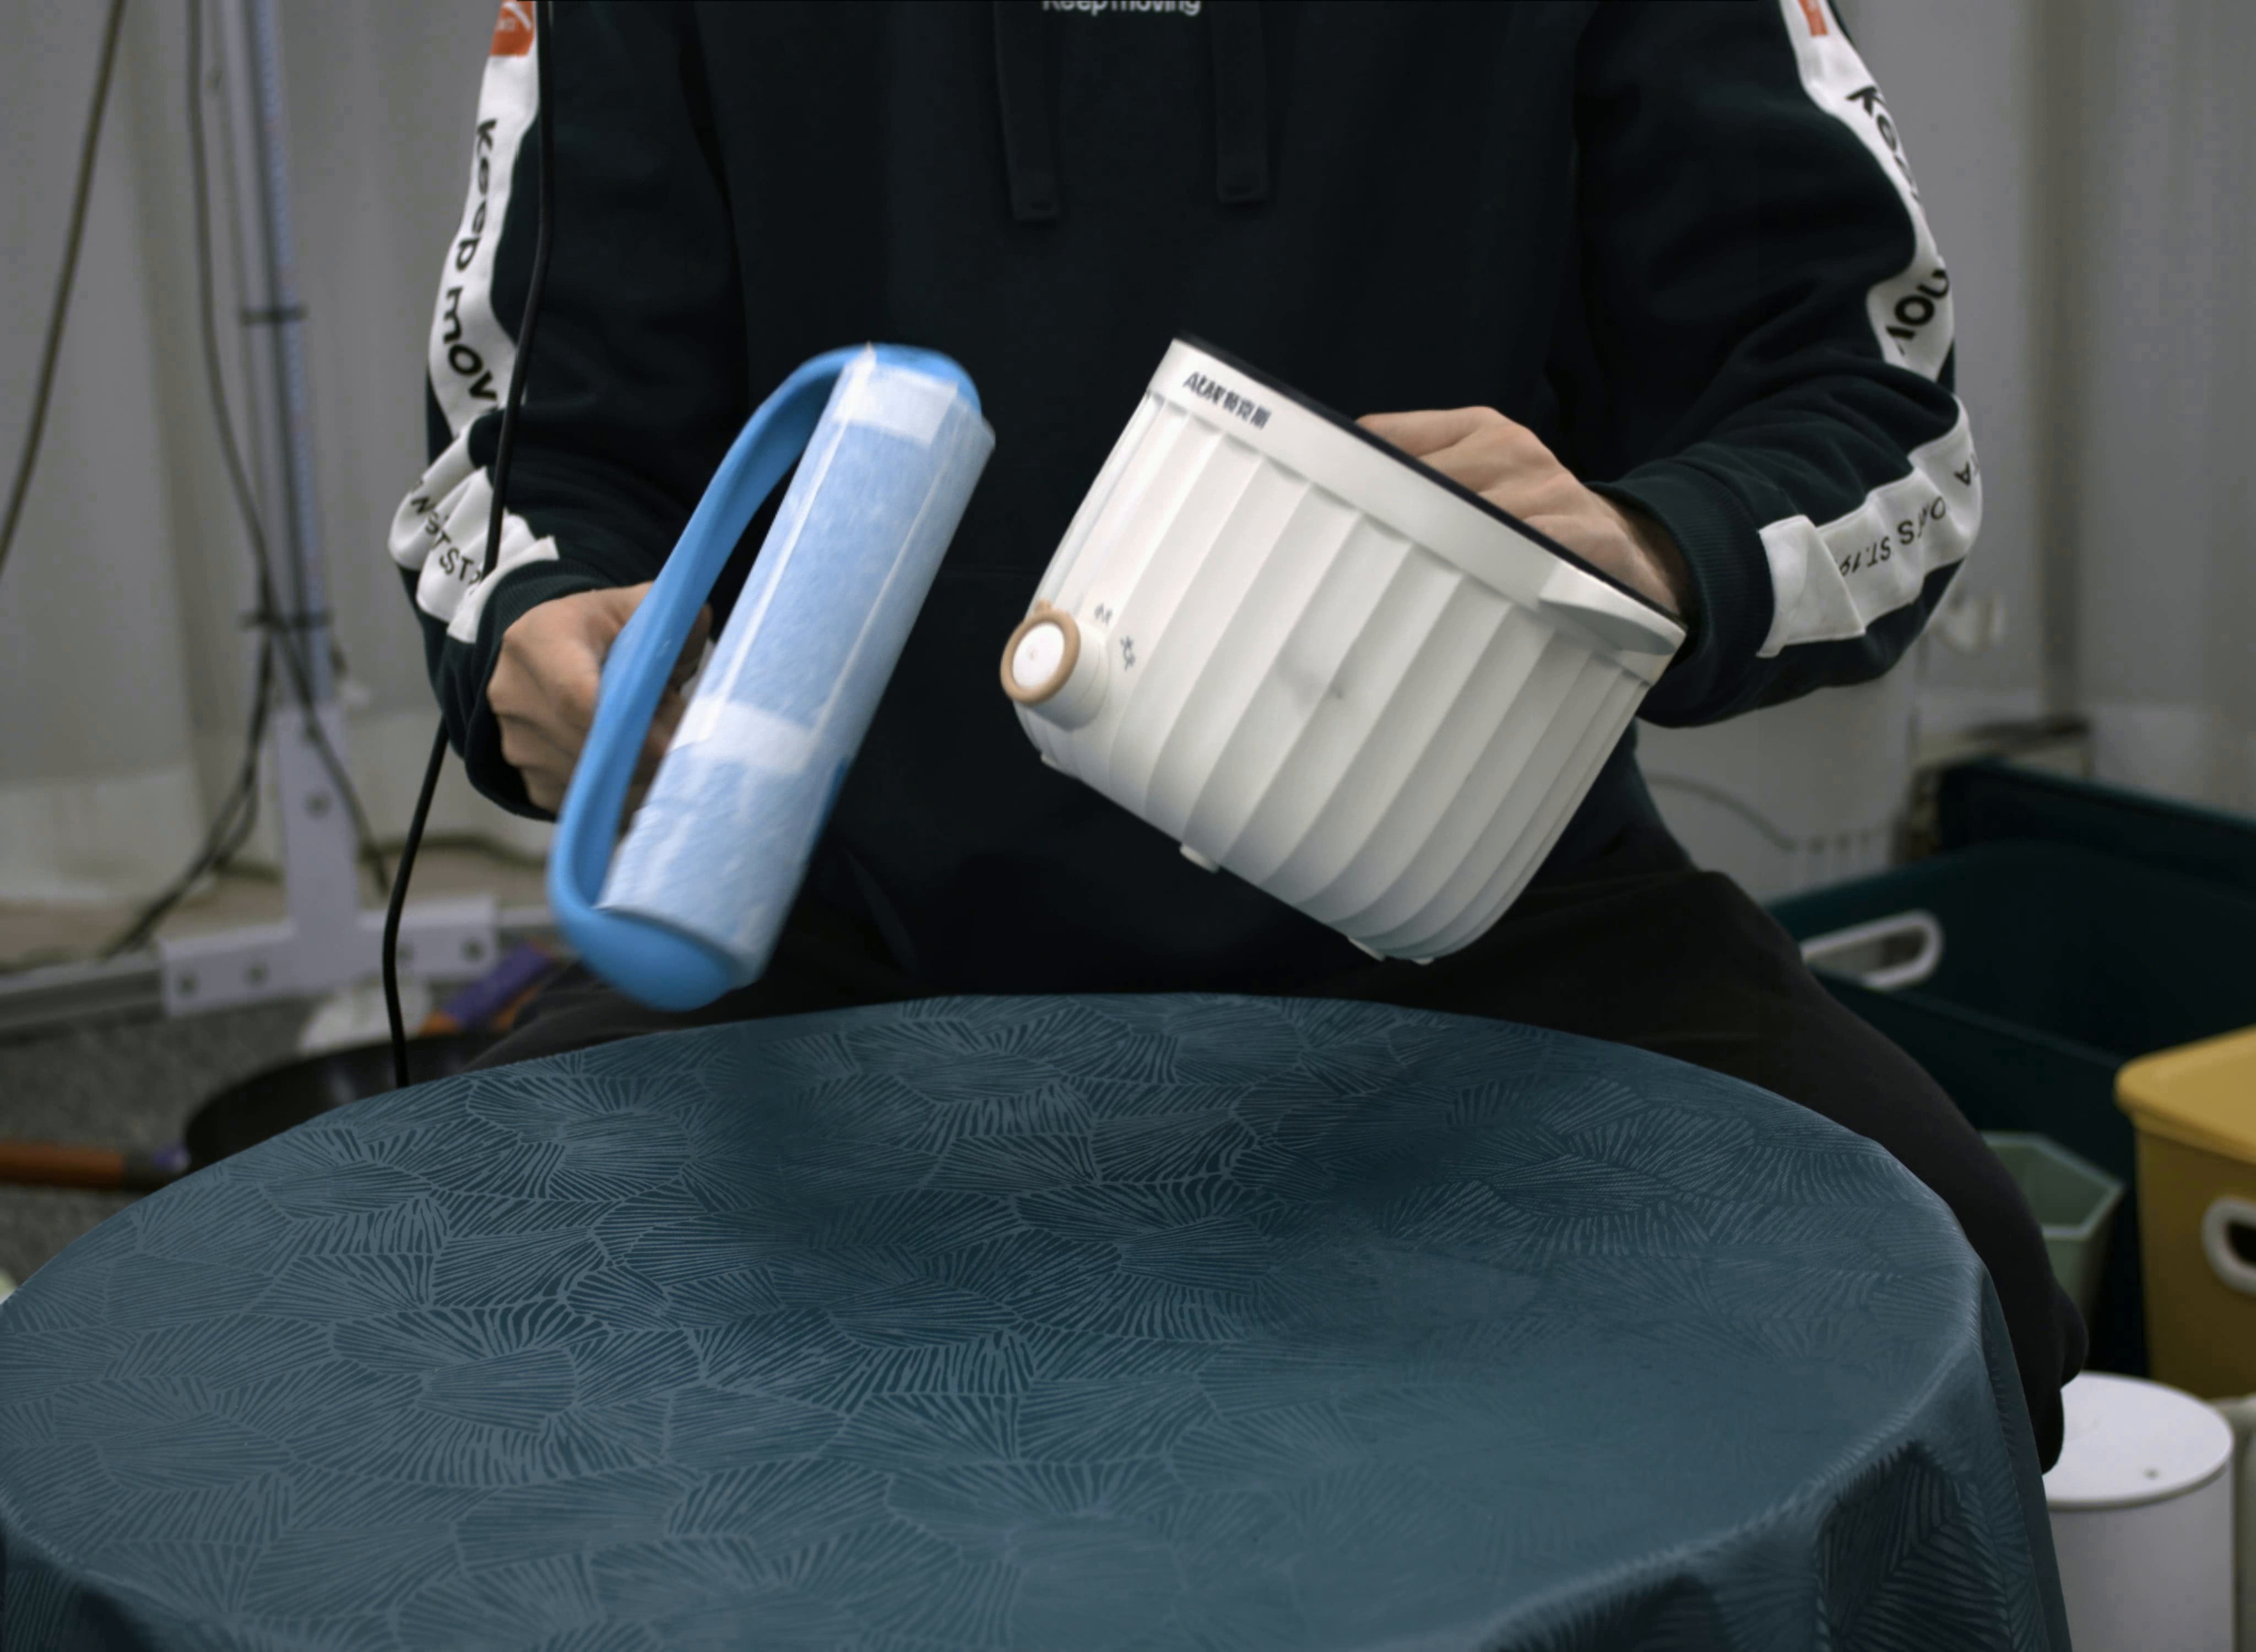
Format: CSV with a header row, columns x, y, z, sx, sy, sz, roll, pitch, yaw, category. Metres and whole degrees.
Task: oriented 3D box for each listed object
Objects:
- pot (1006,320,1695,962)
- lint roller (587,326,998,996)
x,y,z,sx,sy,sz,roll,pitch,yaw,category
0.057,-0.052,1.674,0.188,0.143,0.243,34,-1,-42,pot
-0.129,-0.043,1.737,0.067,0.231,0.180,29,-25,-27,lint roller
